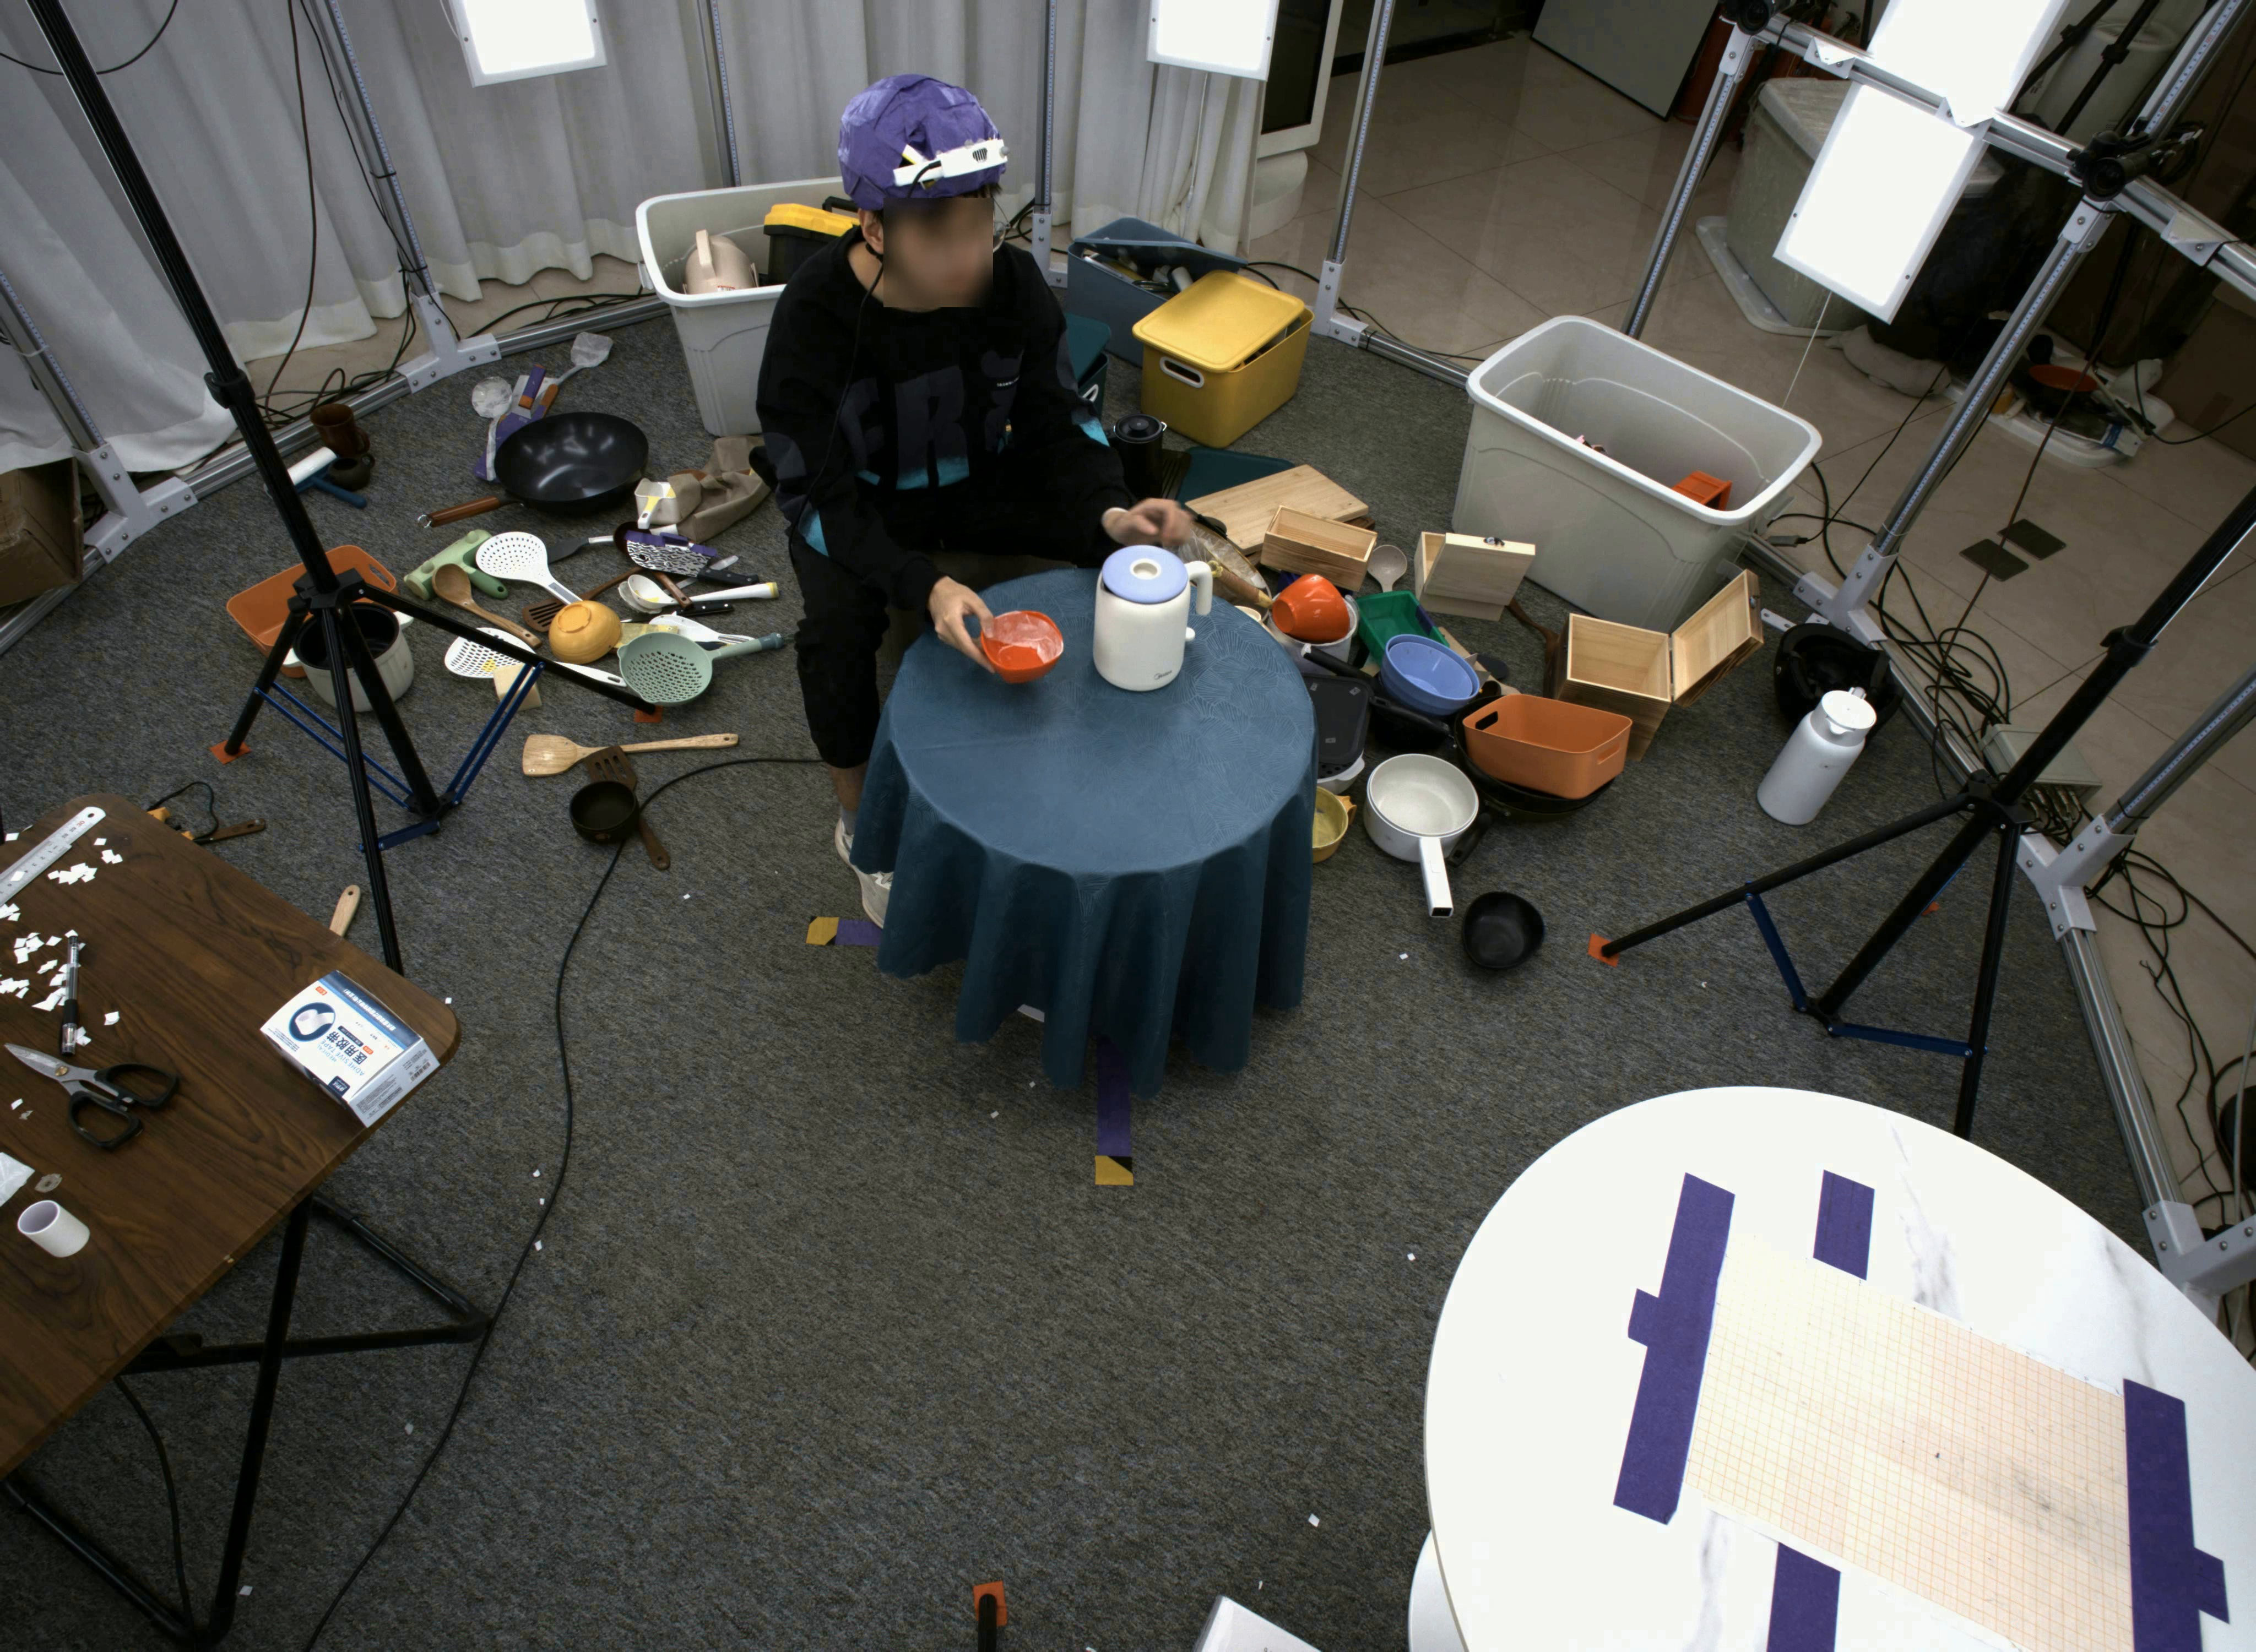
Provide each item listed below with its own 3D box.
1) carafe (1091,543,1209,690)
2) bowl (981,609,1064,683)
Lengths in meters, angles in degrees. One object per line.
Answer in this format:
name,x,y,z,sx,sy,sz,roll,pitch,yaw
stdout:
carafe,0.037,-0.303,1.824,0.192,0.178,0.135,-24,56,-25
bowl,-0.146,-0.243,1.787,0.119,0.050,0.122,1,55,-2
